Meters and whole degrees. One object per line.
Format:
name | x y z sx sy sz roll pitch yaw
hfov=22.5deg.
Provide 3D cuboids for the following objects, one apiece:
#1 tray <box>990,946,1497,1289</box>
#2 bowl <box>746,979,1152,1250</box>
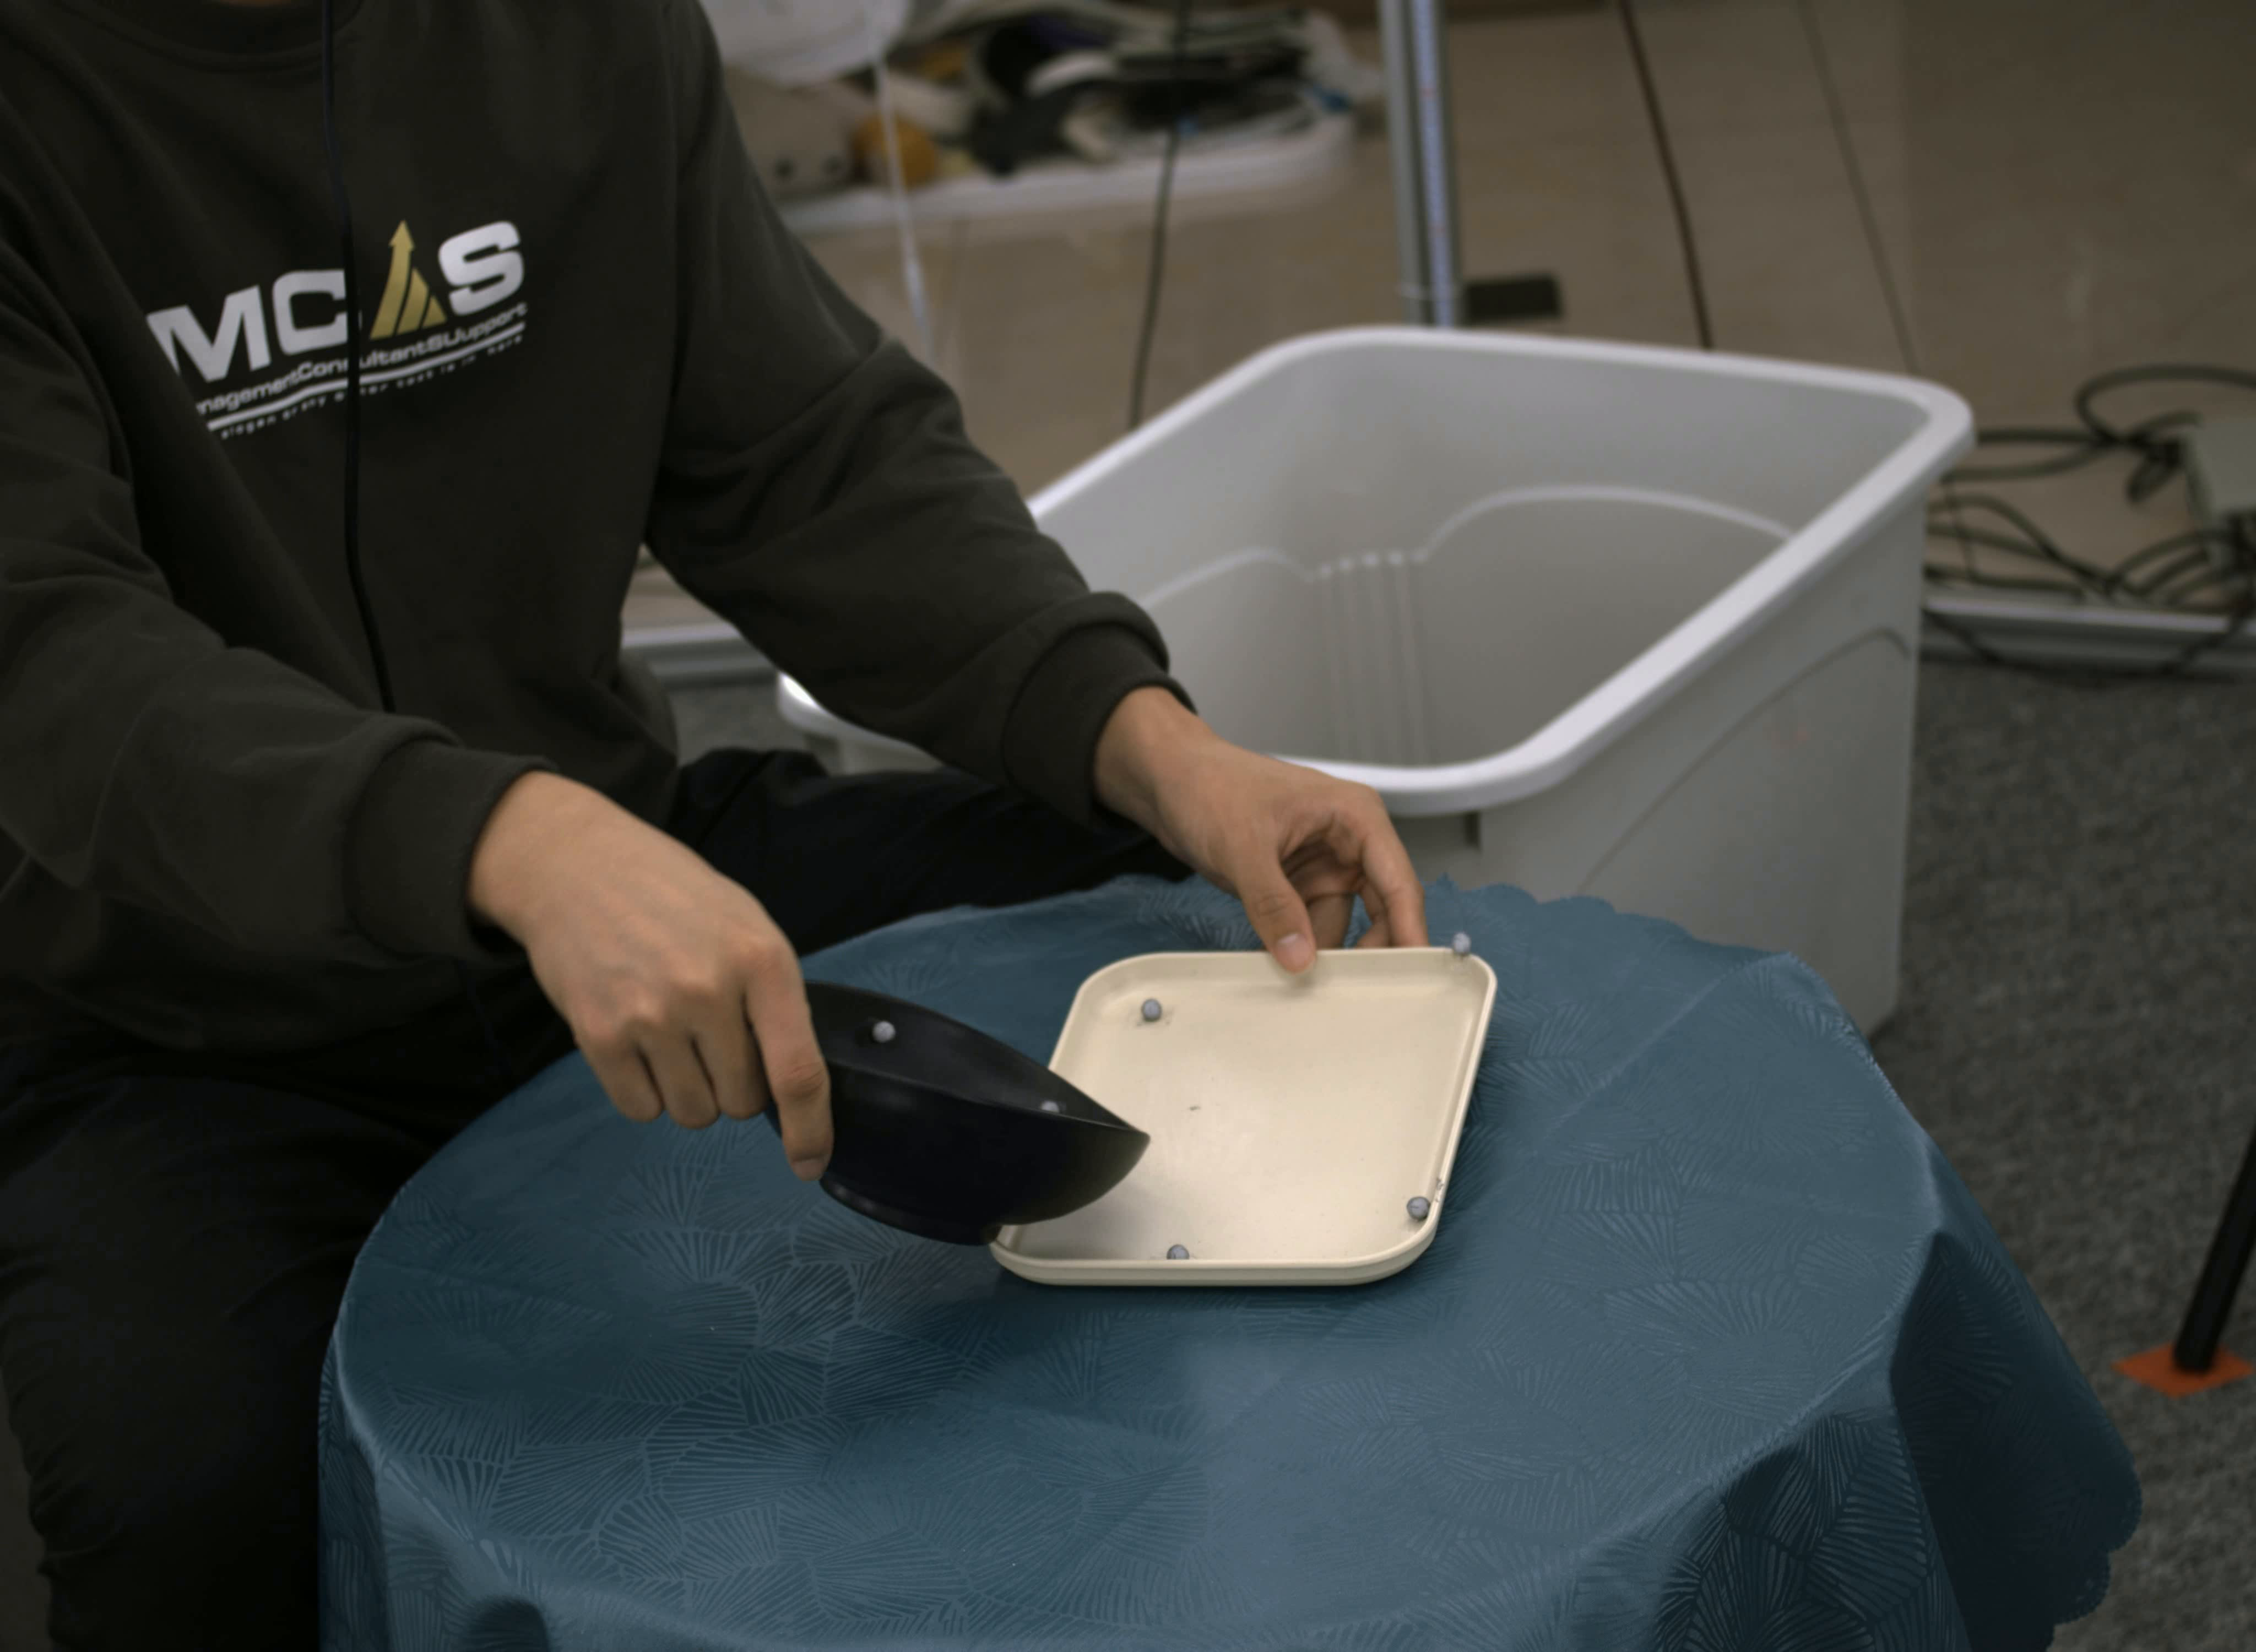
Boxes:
tray | 0.048 0.111 2.165 0.171 0.018 0.236 -2 27 13
bowl | -0.073 0.112 2.075 0.171 0.067 0.136 17 9 -39
